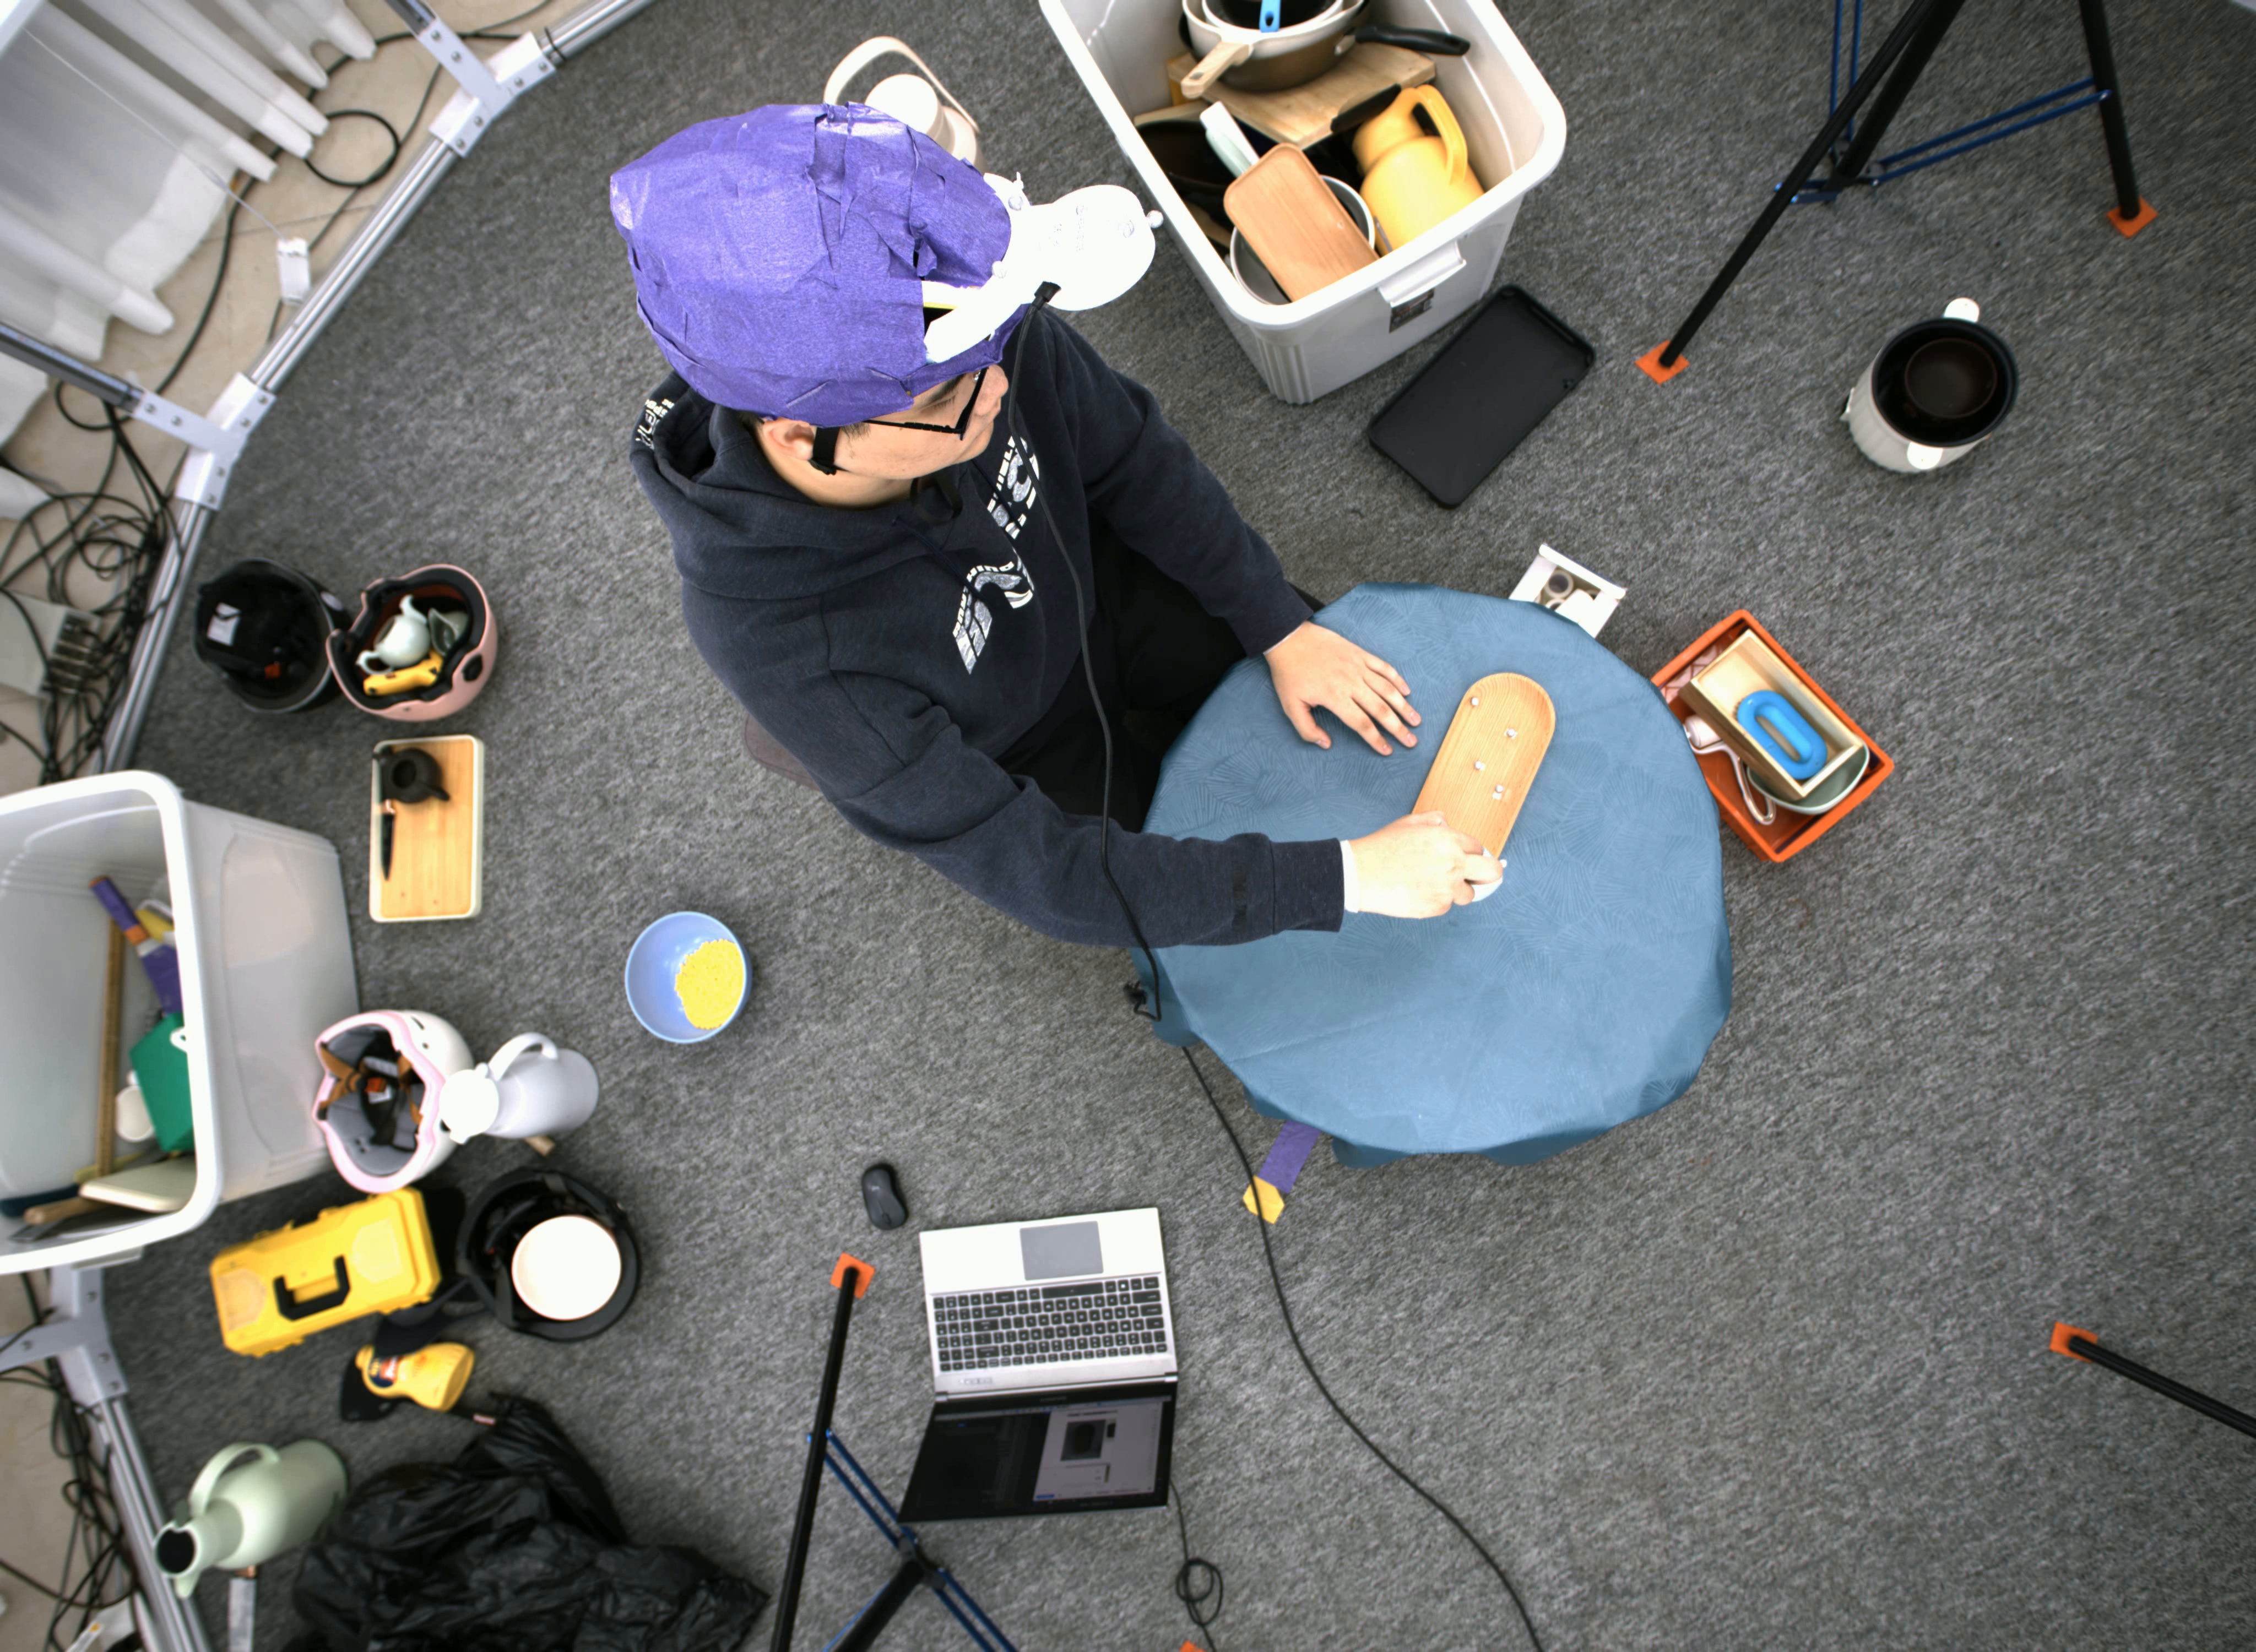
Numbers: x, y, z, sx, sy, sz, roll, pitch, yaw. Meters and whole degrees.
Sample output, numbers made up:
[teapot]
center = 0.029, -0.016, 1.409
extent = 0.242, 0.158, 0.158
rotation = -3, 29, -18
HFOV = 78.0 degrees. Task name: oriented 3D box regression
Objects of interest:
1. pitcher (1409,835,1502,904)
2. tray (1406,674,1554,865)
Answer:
[pitcher]
center = 0.305, 0.041, 1.284
extent = 0.086, 0.107, 0.061
rotation = 1, 98, 14
[tray]
center = 0.369, -0.051, 1.442
extent = 0.101, 0.020, 0.231
rotation = 24, 94, 13
